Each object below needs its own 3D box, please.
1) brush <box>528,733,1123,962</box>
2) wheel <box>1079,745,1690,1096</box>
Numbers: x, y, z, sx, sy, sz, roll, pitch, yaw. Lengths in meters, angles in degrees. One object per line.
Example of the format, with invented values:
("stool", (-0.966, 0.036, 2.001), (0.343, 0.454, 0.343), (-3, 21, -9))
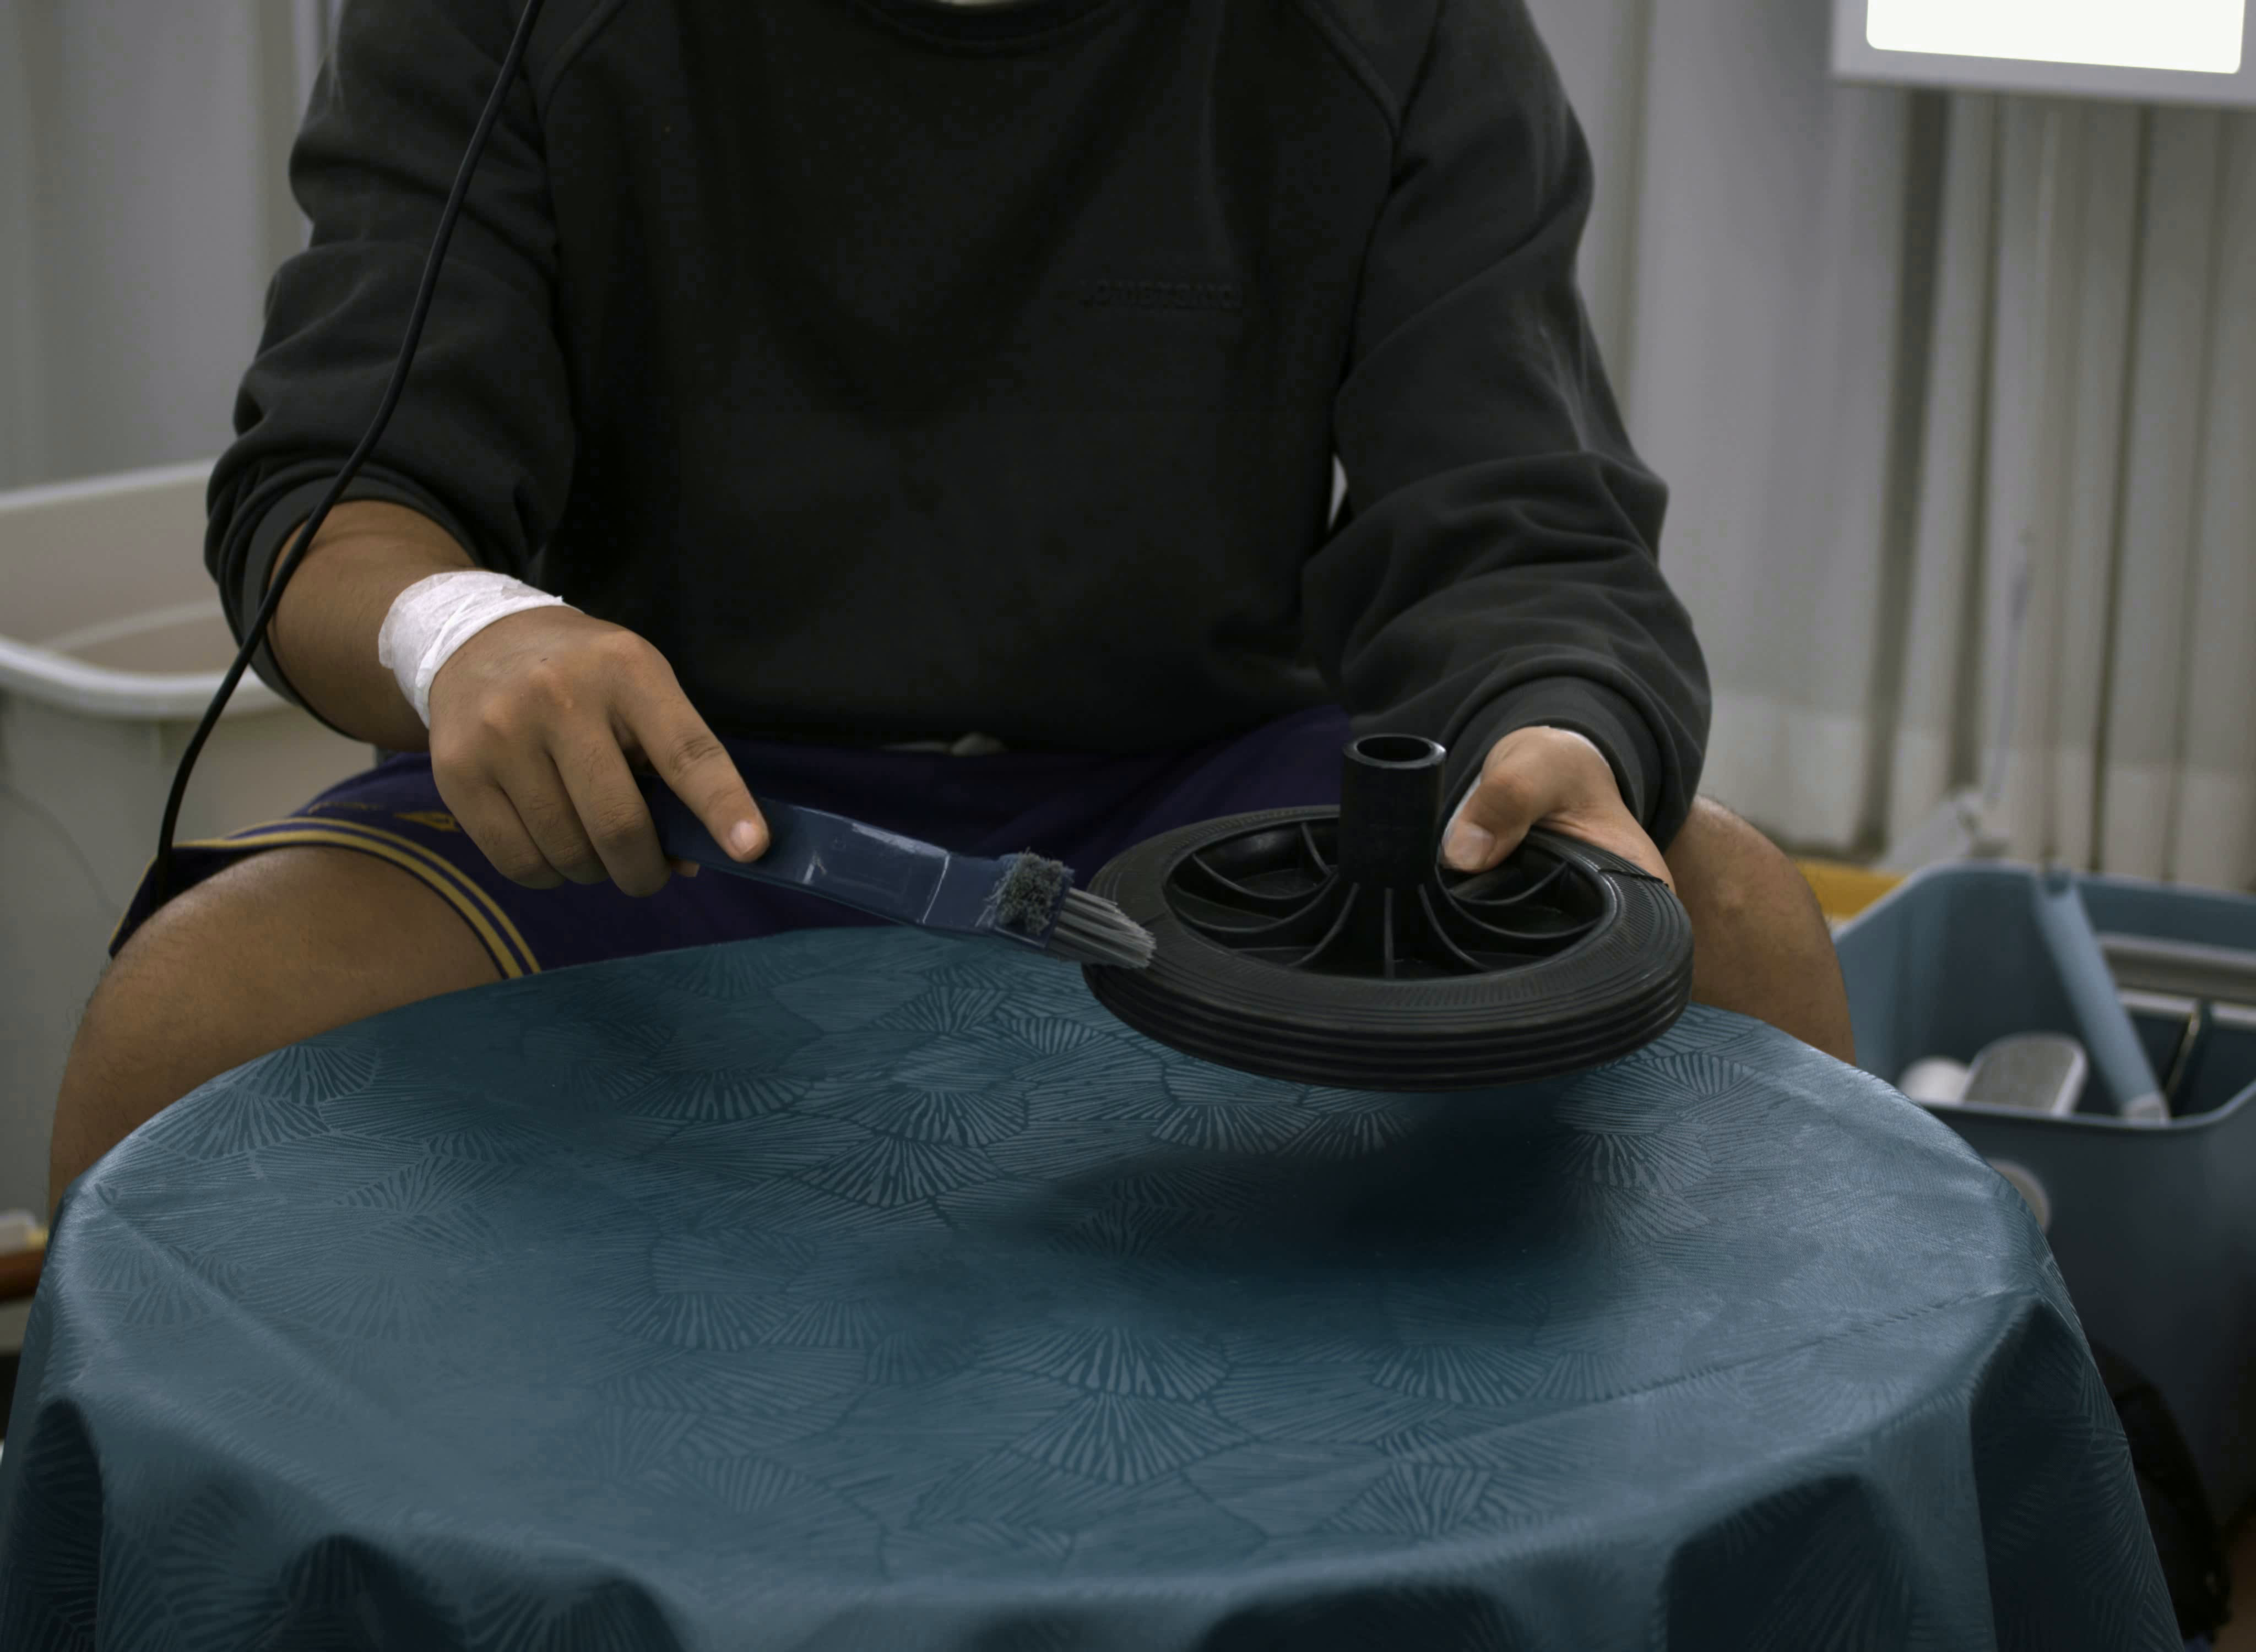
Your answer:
("brush", (-0.108, 0.003, 1.609), (0.269, 0.033, 0.097), (14, -6, 39))
("wheel", (0.079, 0.017, 1.601), (0.186, 0.080, 0.189), (7, 20, 14))
